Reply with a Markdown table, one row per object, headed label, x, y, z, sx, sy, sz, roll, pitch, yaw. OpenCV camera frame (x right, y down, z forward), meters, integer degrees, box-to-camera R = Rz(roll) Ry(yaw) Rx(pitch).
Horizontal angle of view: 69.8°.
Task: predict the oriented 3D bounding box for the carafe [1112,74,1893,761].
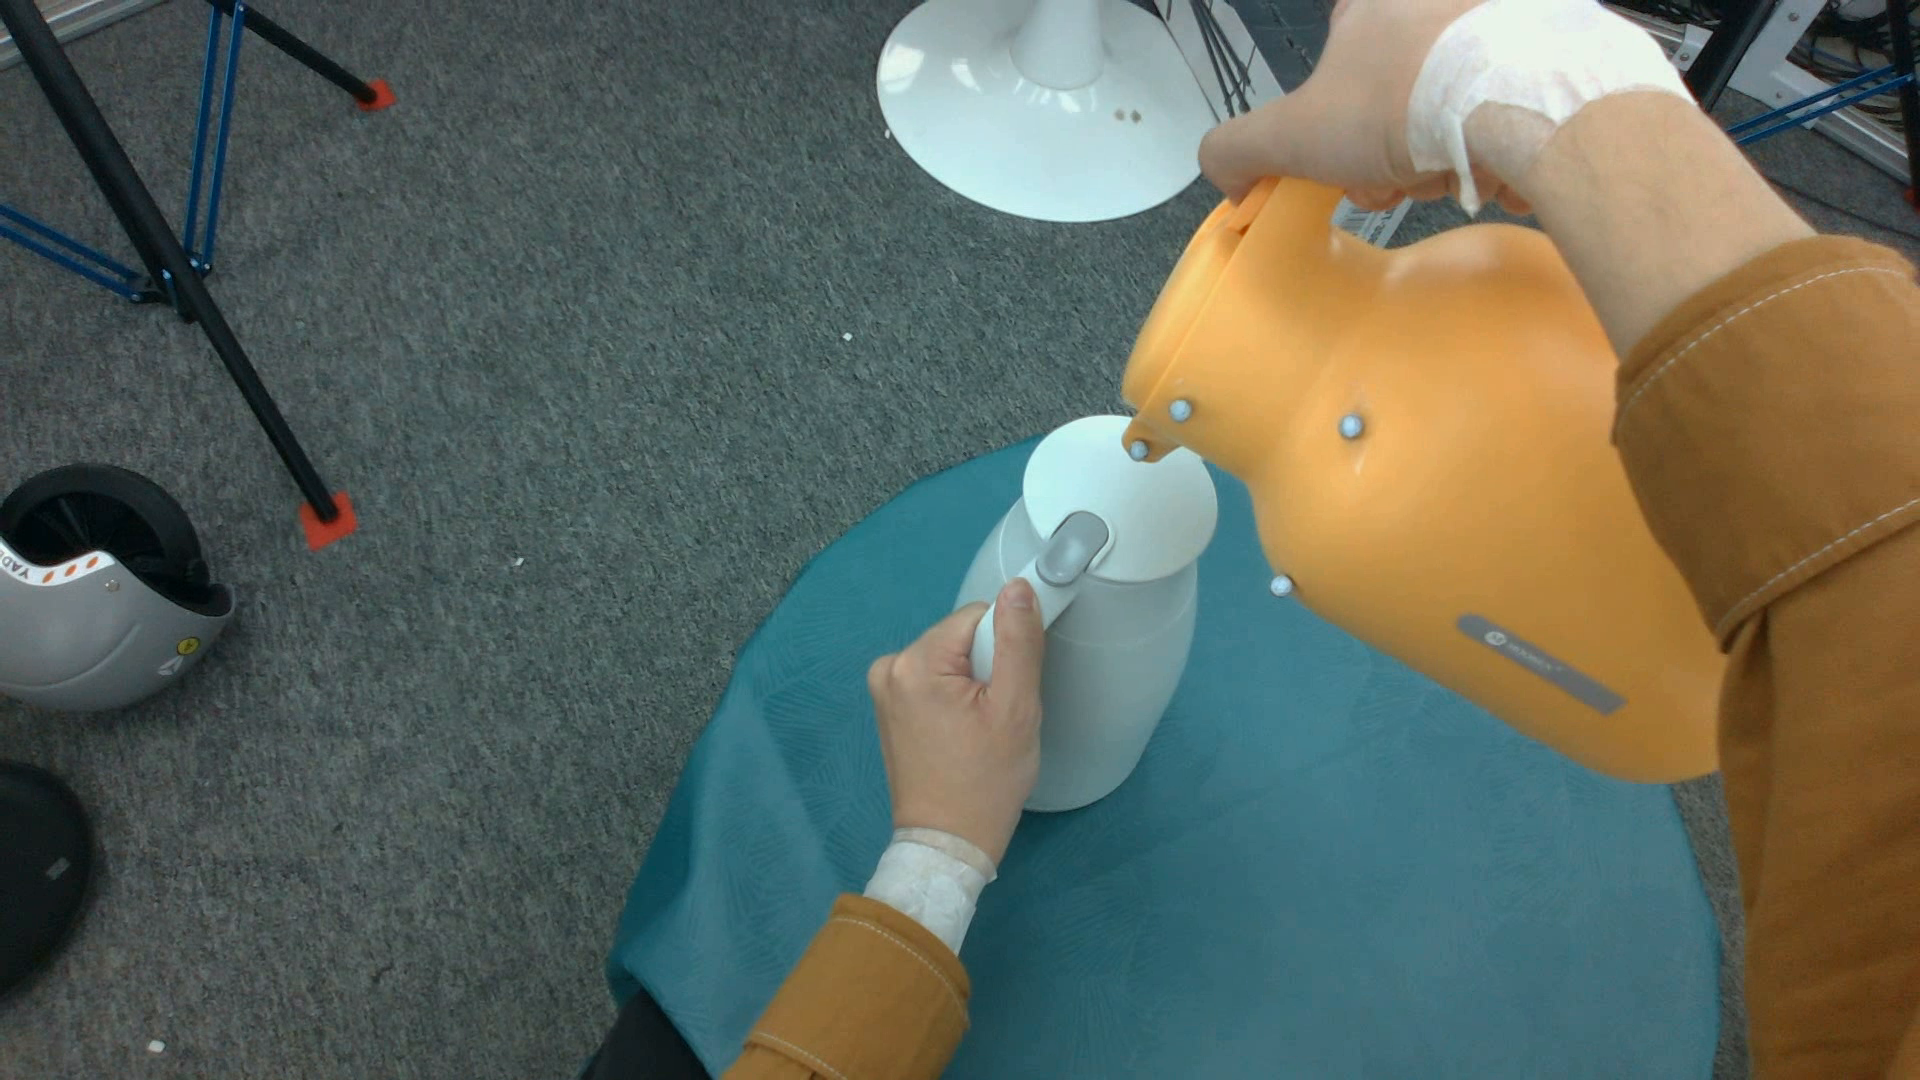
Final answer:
| label | x | y | z | sx | sy | sz | roll | pitch | yaw |
| --- | --- | --- | --- | --- | --- | --- | --- | --- | --- |
| carafe | 0.192 | -0.047 | 0.503 | 0.260 | 0.201 | 0.164 | 26 | 51 | 2 |

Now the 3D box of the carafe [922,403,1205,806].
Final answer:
| label | x | y | z | sx | sy | sz | roll | pitch | yaw |
| --- | --- | --- | --- | --- | --- | --- | --- | --- | --- |
| carafe | 0.044 | 0.047 | 0.721 | 0.132 | 0.247 | 0.168 | 39 | 62 | 16 |
